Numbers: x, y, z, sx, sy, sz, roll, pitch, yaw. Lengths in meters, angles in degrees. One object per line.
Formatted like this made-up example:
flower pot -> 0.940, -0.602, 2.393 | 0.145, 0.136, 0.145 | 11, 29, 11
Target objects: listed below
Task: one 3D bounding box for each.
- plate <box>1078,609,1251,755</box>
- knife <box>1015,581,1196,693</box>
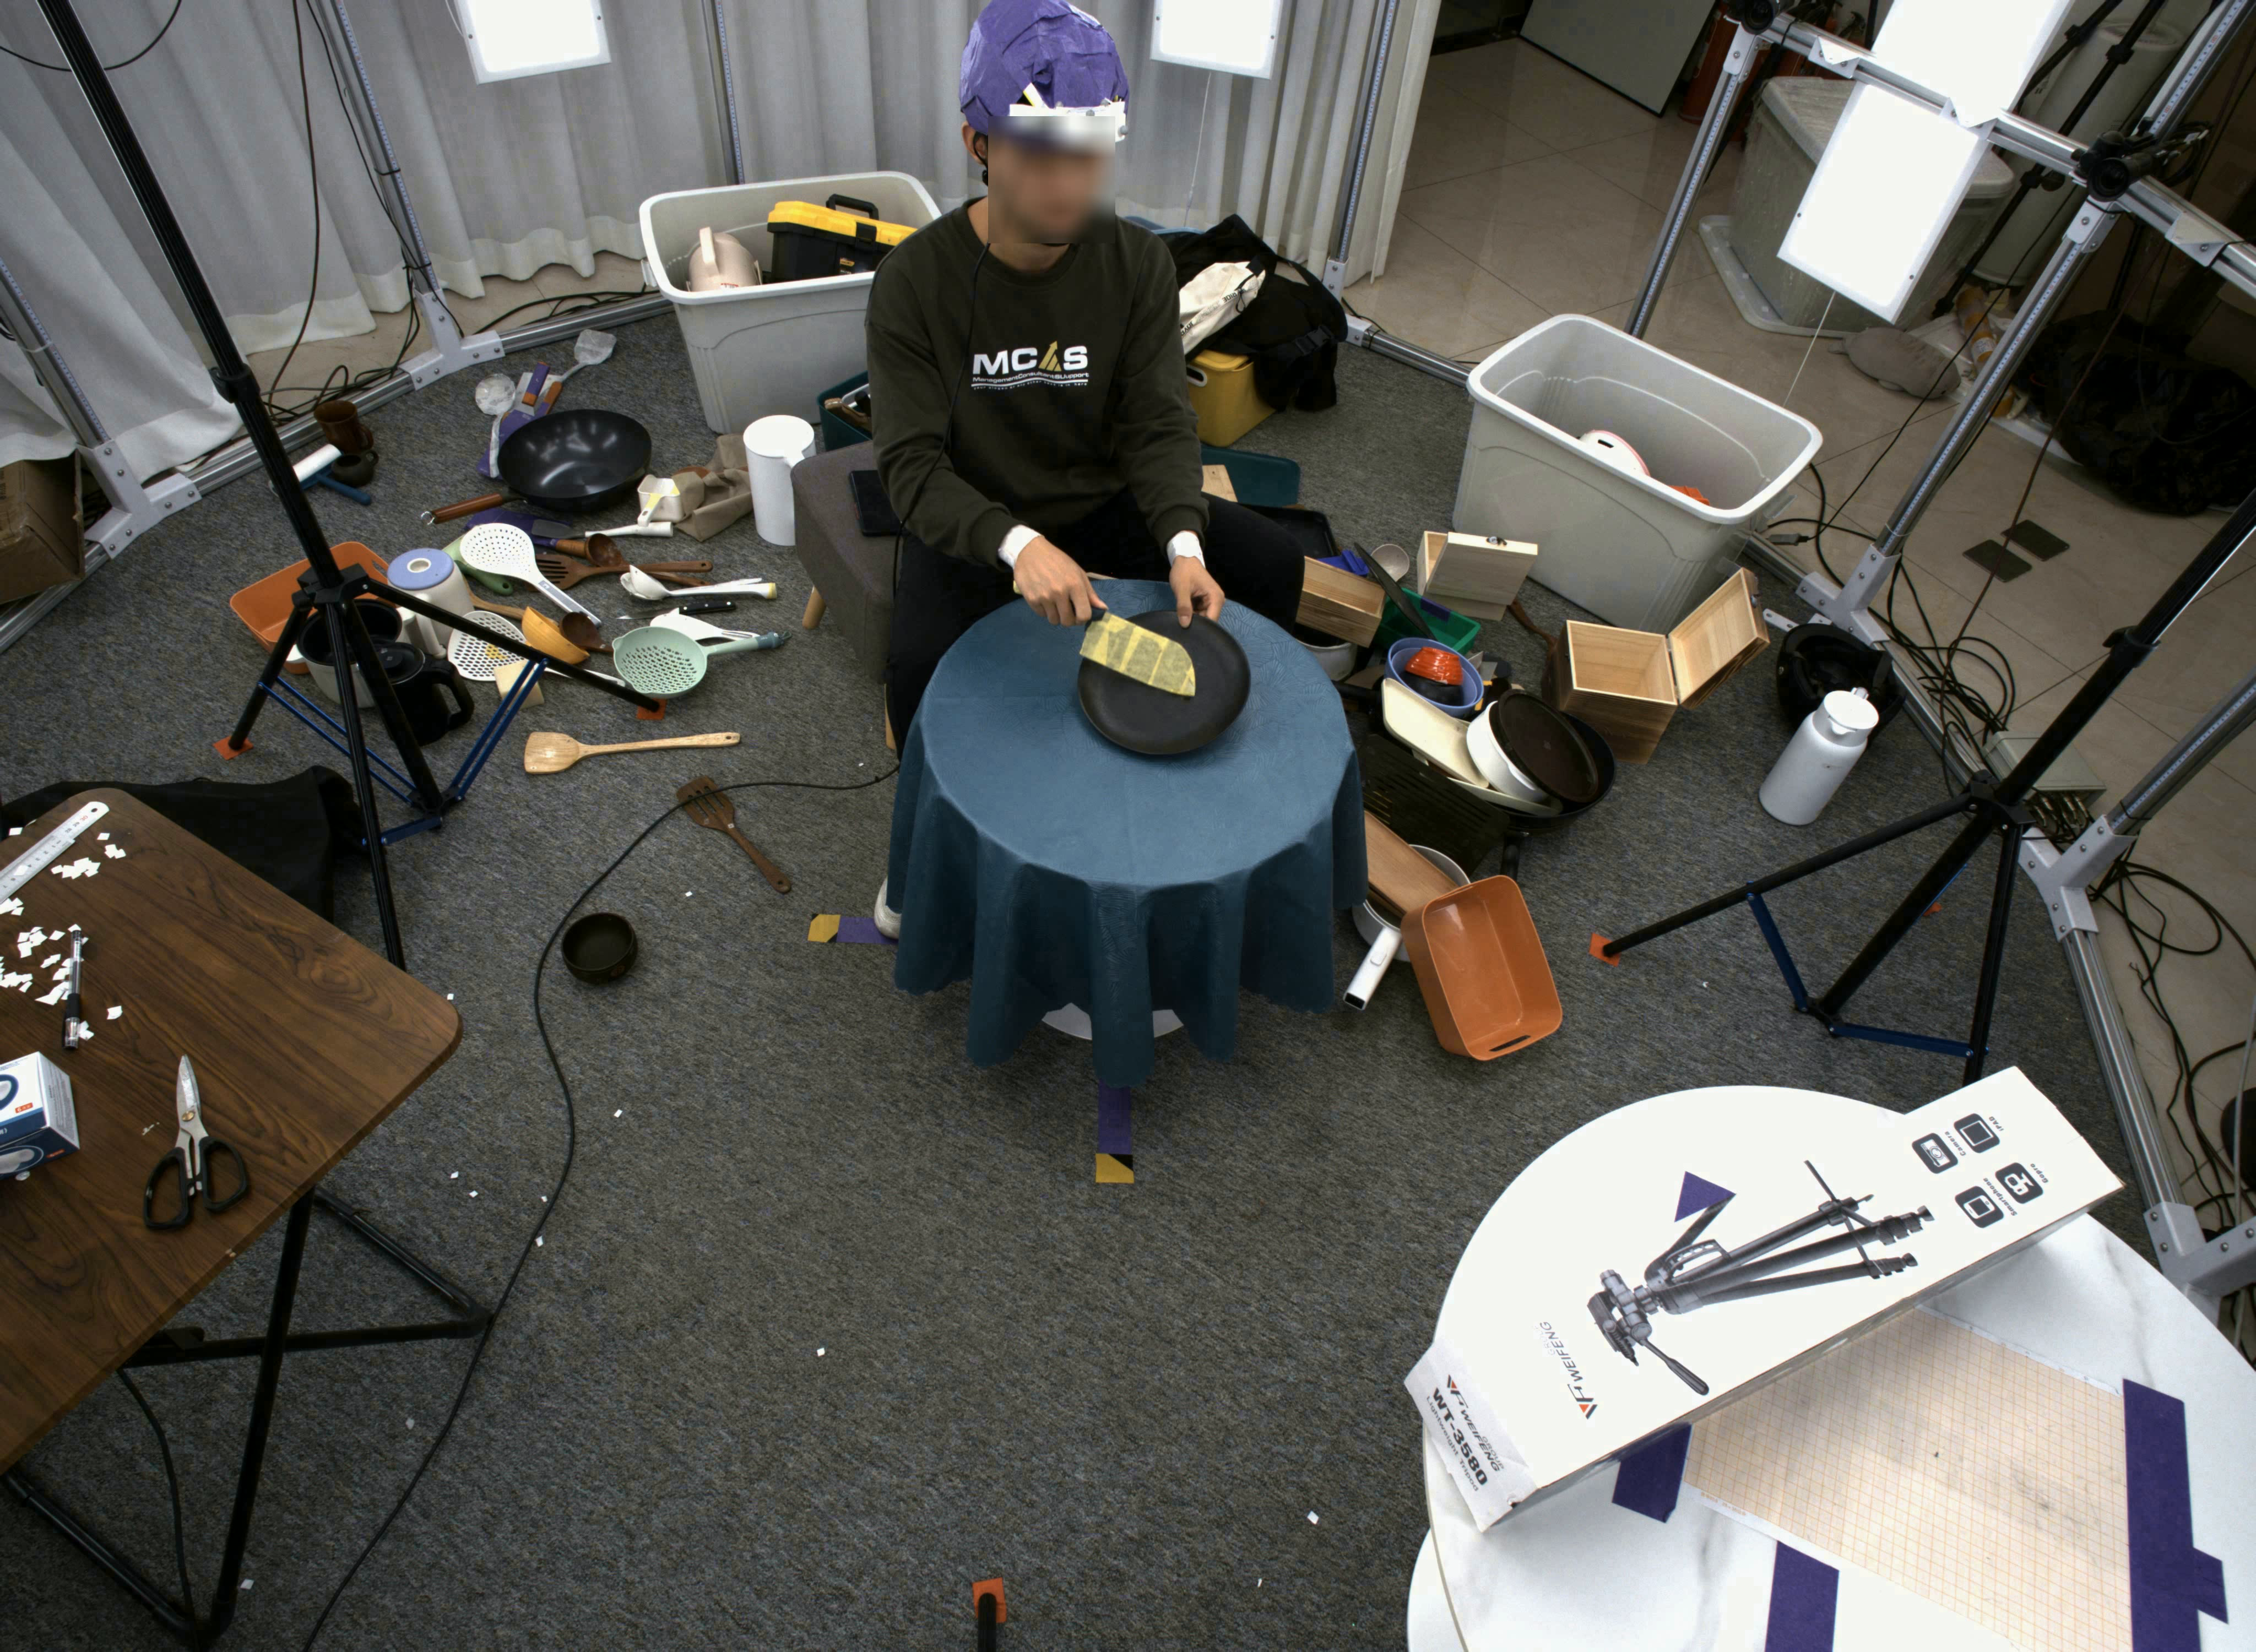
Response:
plate -> 0.051, -0.200, 1.802 | 0.244, 0.023, 0.250 | -3, 60, 4
knife -> -0.033, -0.264, 1.795 | 0.290, 0.080, 0.027 | 28, 22, 6
